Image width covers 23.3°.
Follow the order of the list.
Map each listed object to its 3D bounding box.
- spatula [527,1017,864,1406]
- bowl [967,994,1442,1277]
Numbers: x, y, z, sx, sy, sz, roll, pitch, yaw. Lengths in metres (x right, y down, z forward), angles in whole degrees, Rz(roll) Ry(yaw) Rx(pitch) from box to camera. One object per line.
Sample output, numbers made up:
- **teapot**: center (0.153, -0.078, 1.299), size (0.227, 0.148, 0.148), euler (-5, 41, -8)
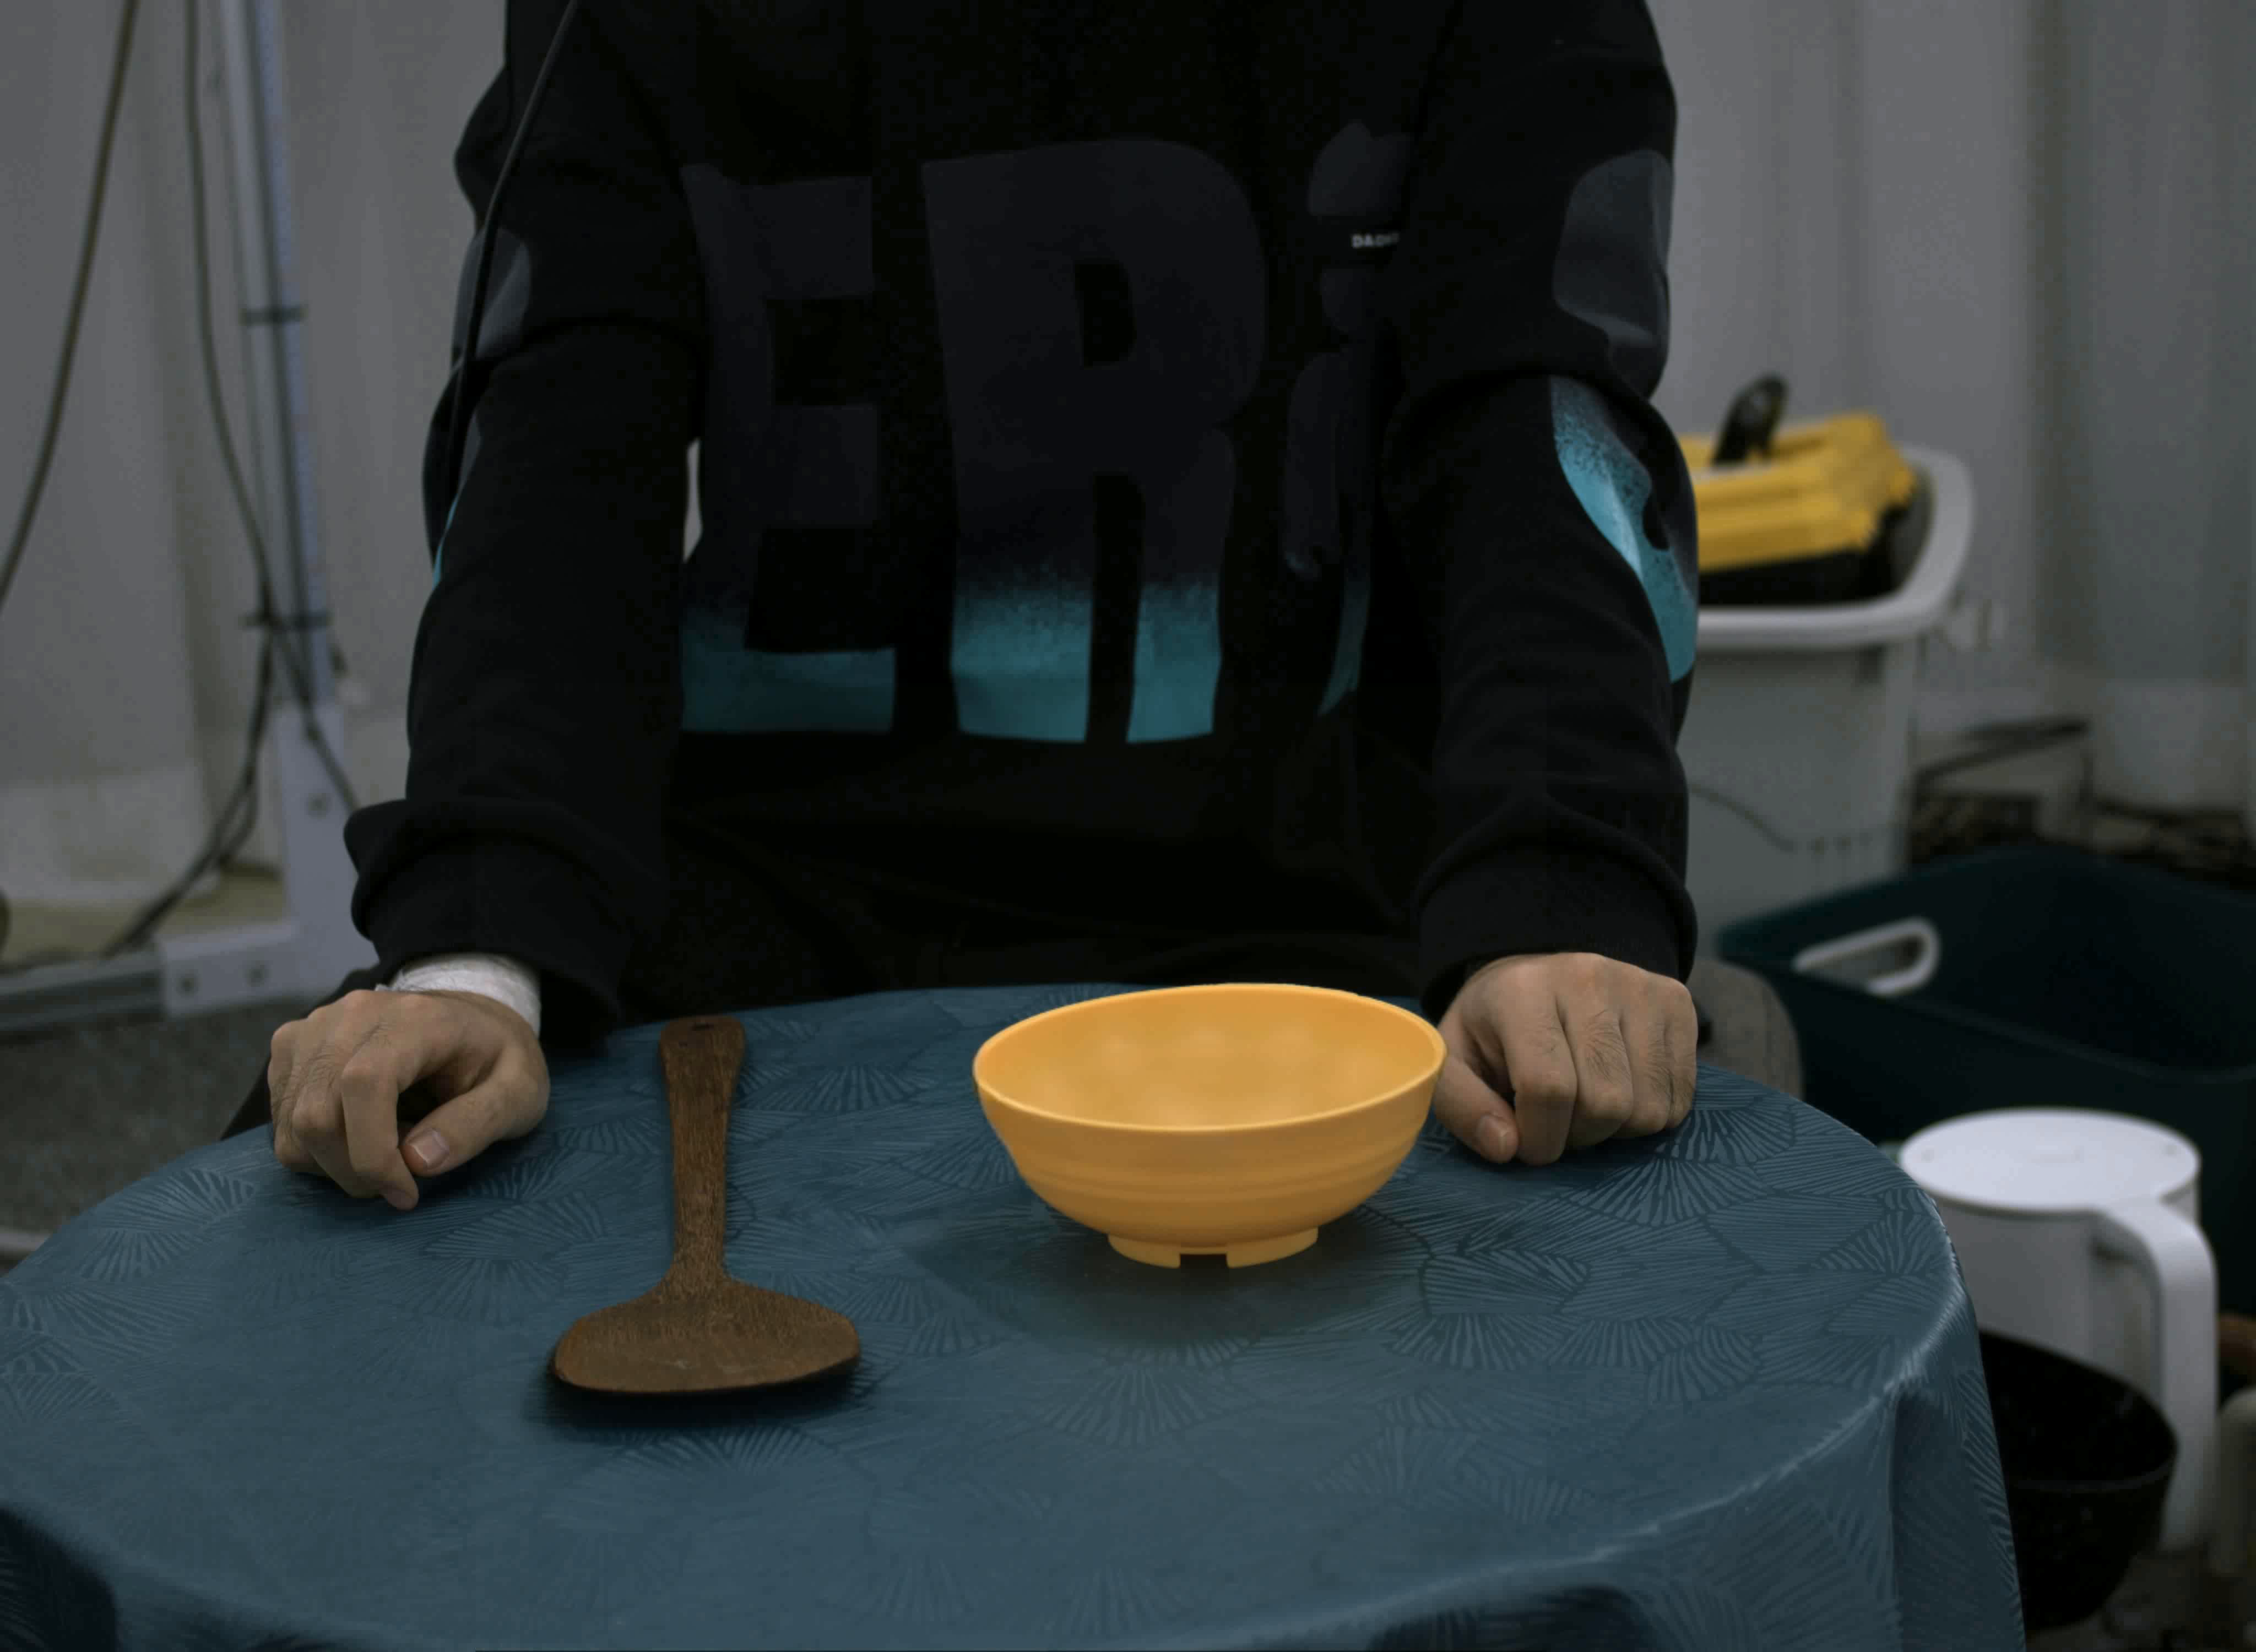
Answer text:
- **spatula**: center (-0.135, 0.115, 1.715), size (0.096, 0.016, 0.389), euler (-3, 15, -4)
- **bowl**: center (0.023, 0.099, 1.664), size (0.145, 0.060, 0.146), euler (0, 14, 0)
